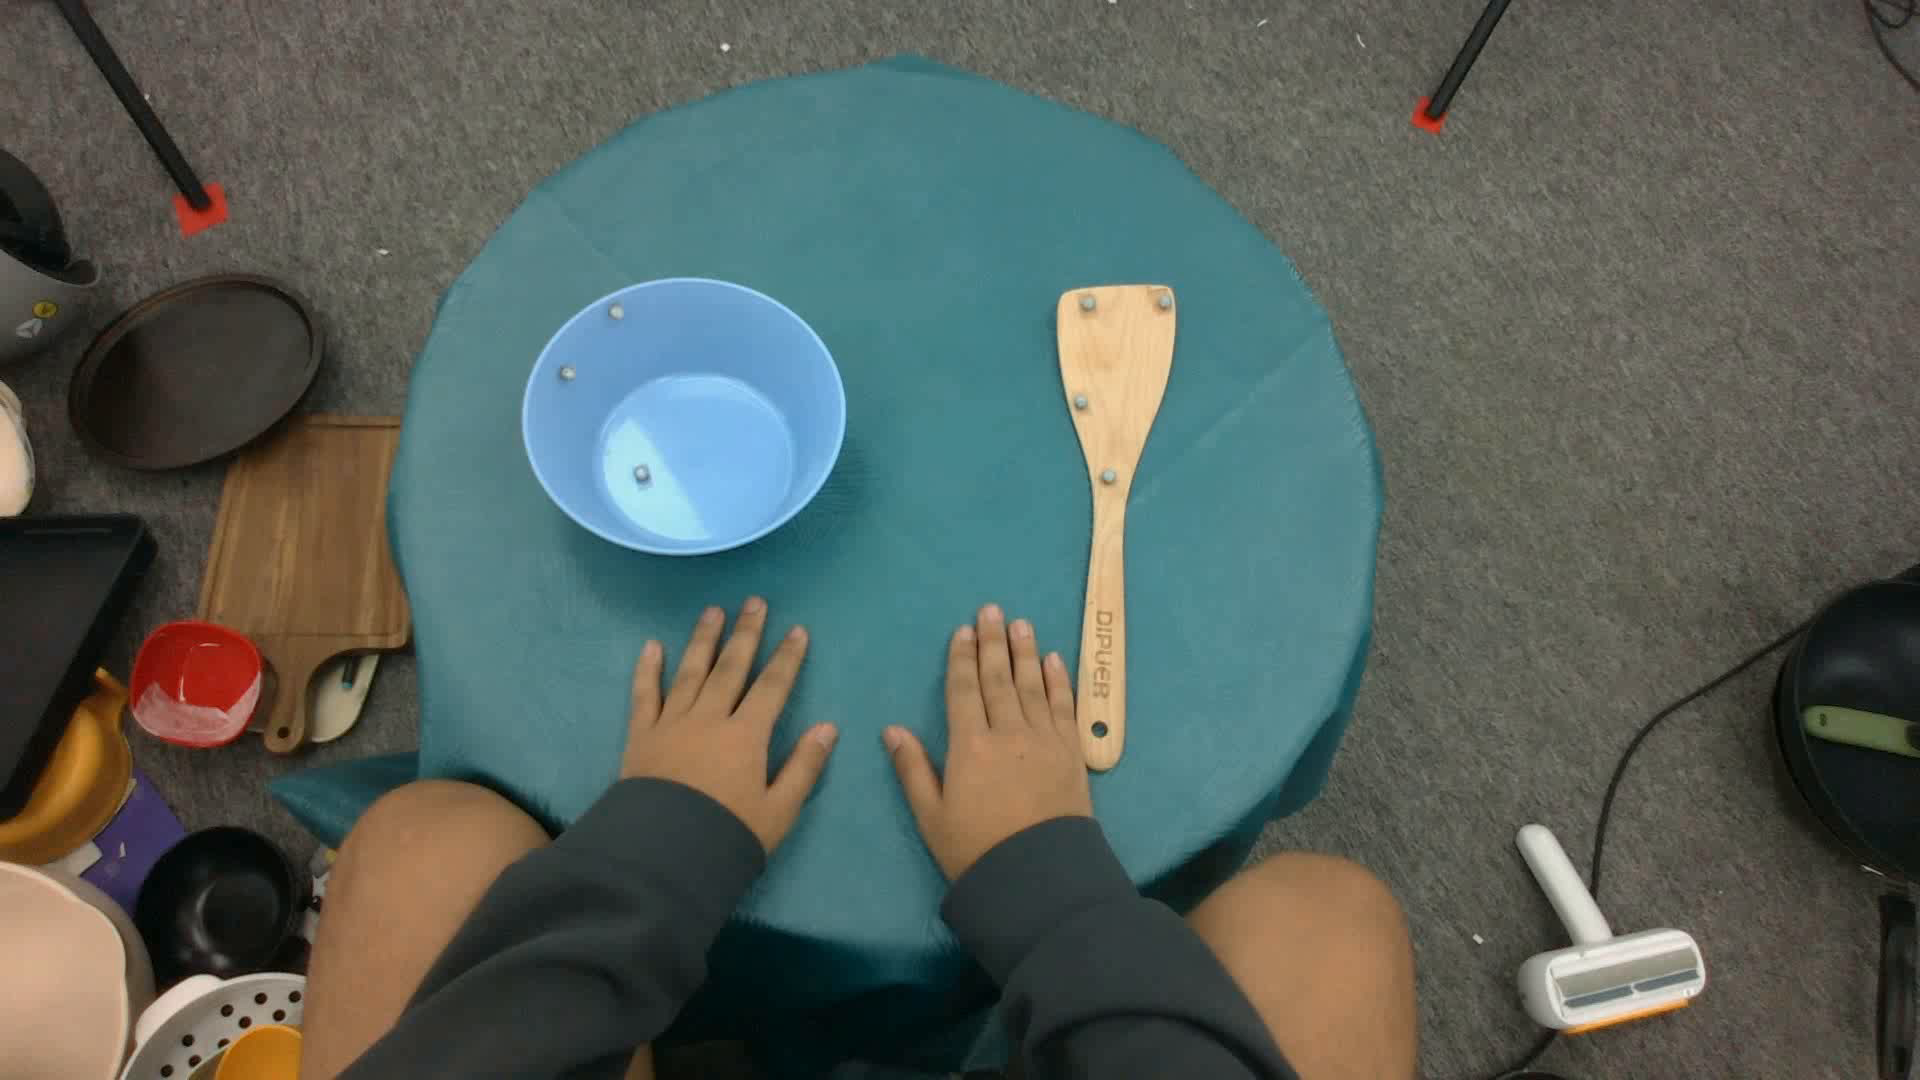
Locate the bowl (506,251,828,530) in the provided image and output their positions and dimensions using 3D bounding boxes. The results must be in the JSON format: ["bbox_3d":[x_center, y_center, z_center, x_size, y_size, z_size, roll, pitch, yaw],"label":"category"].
[{"bbox_3d":[-0.164,-0.074,0.789,0.176,0.070,0.176,3,66,-6],"label":"bowl"}]

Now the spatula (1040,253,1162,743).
[{"bbox_3d":[0.080,-0.038,0.835,0.080,0.016,0.329,7,66,-5],"label":"spatula"}]
